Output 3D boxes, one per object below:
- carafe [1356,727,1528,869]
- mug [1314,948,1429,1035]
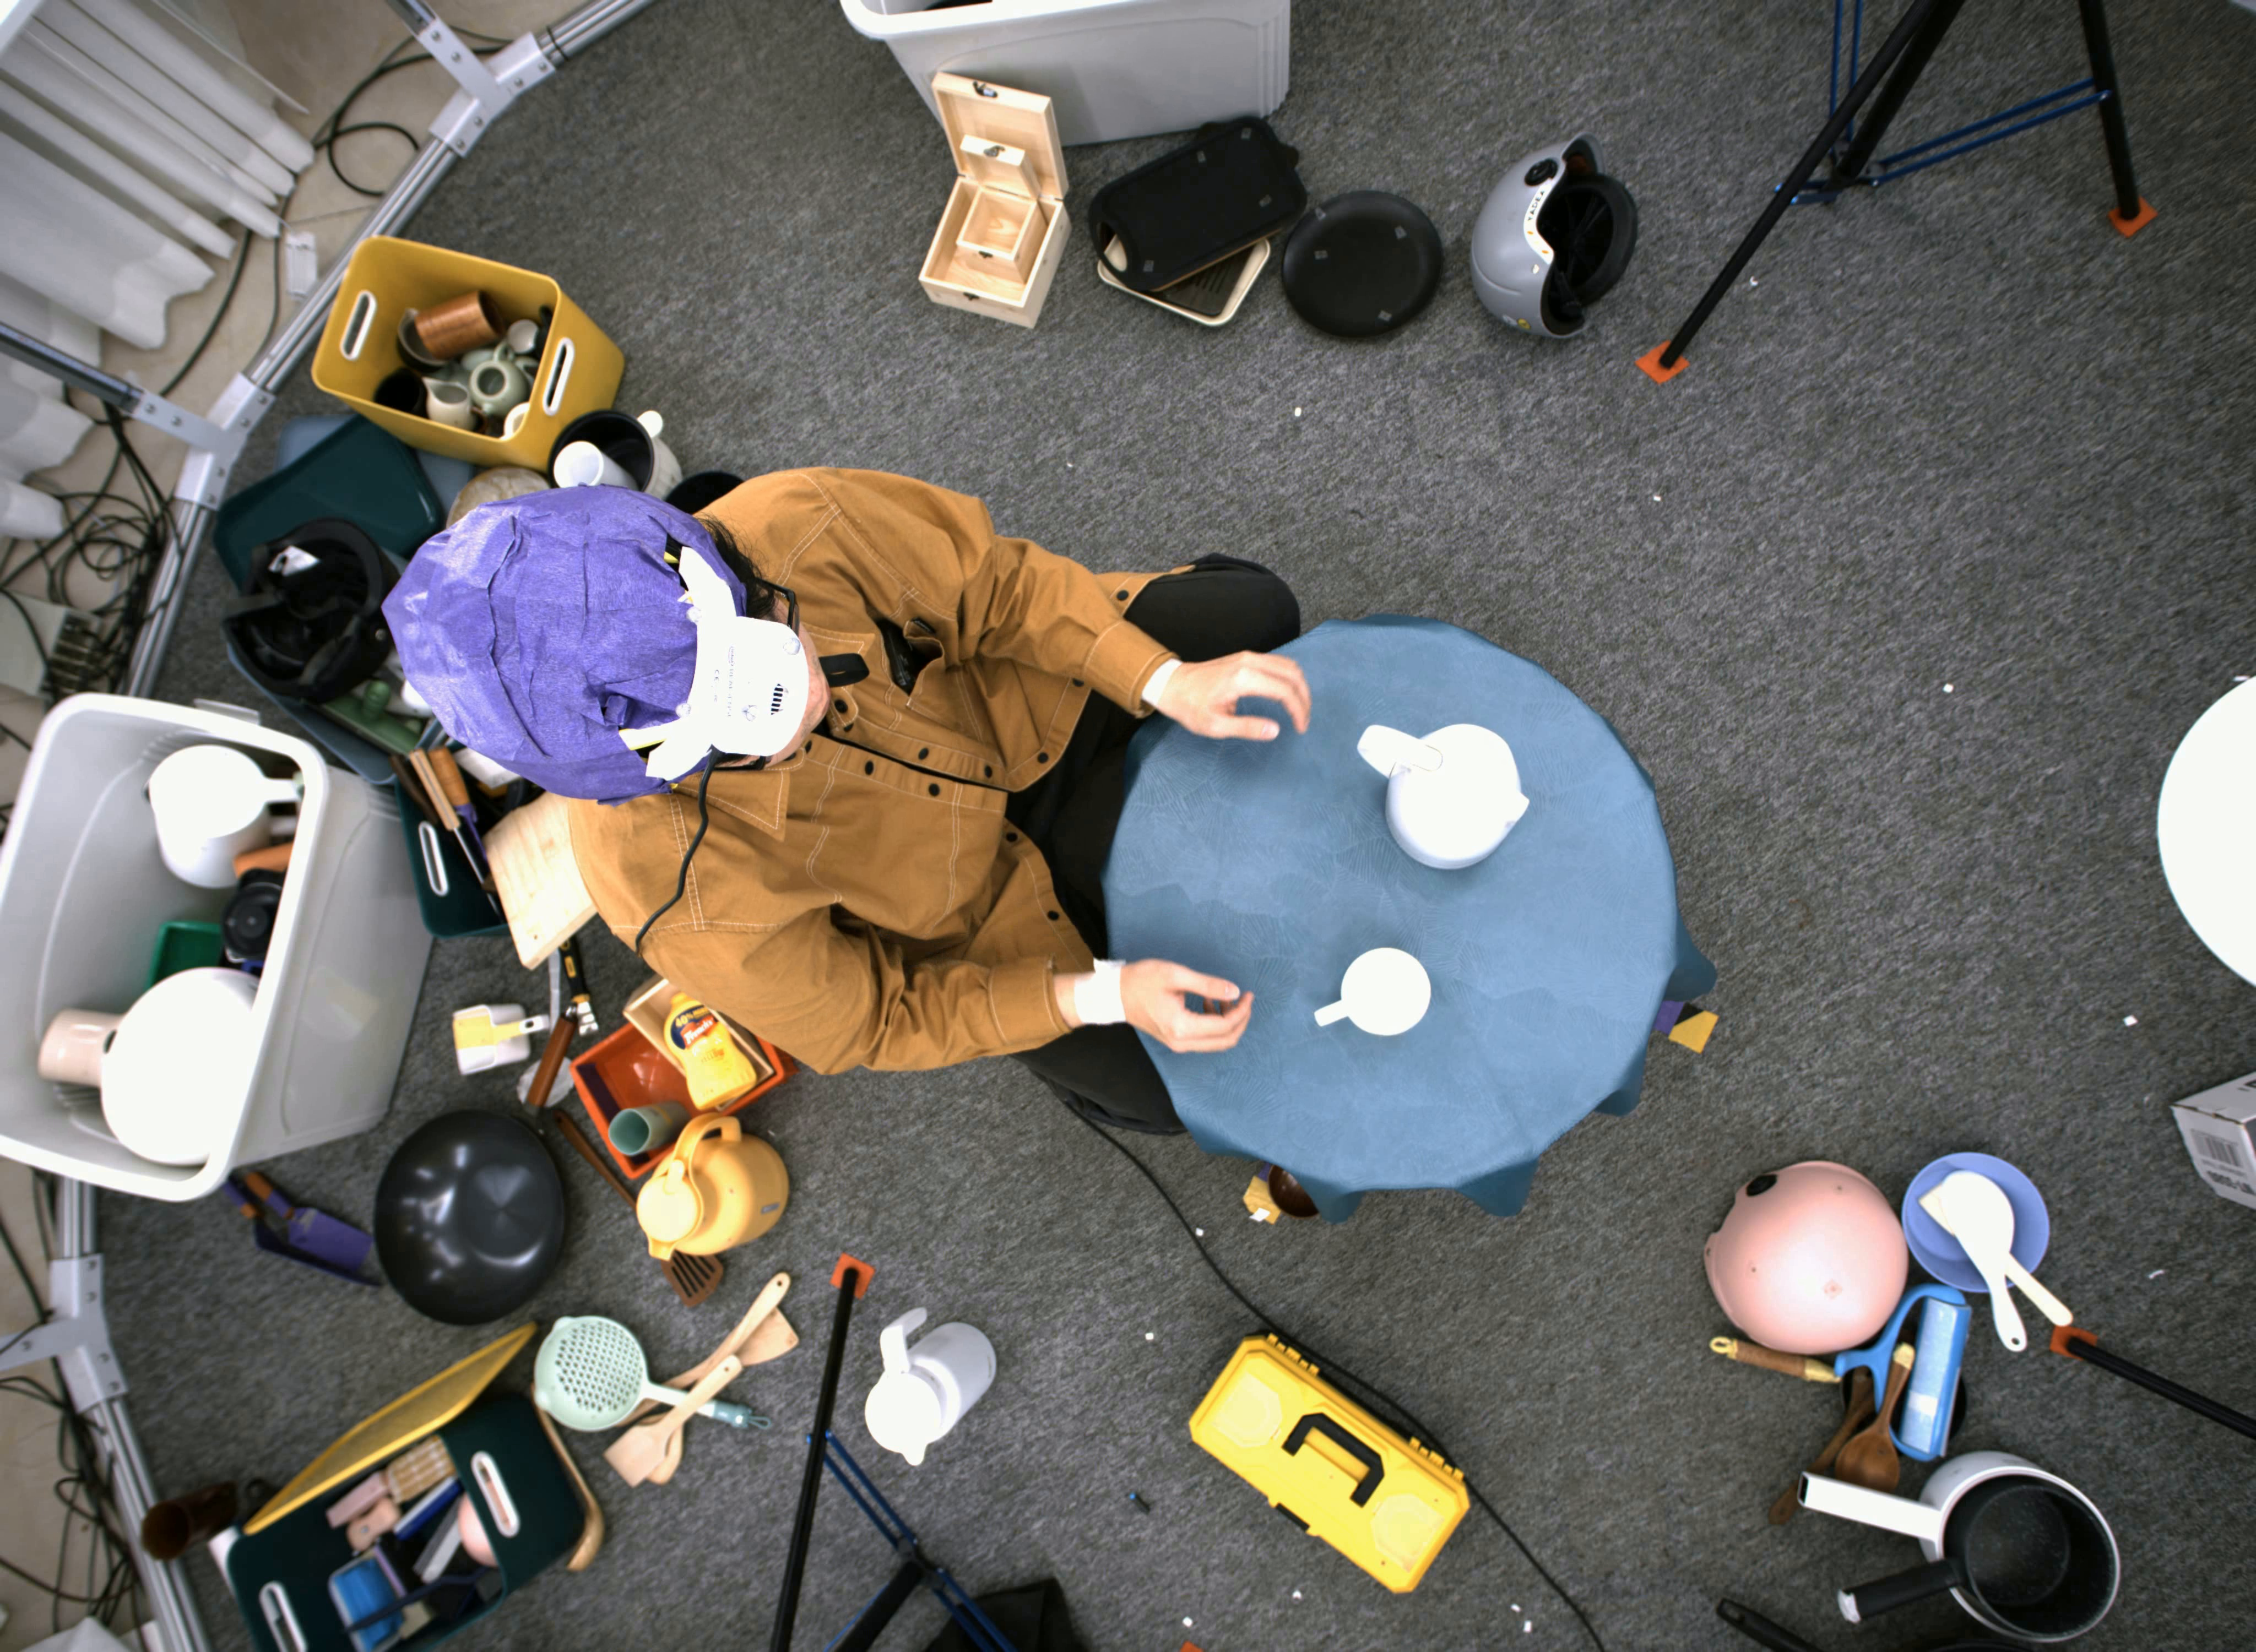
[{"bbox_3d":[0.300,-0.041,1.335,0.167,0.248,0.133,28,91,12],"label":"carafe"},{"bbox_3d":[0.247,0.173,1.409,0.119,0.102,0.084,-25,81,8],"label":"mug"}]
